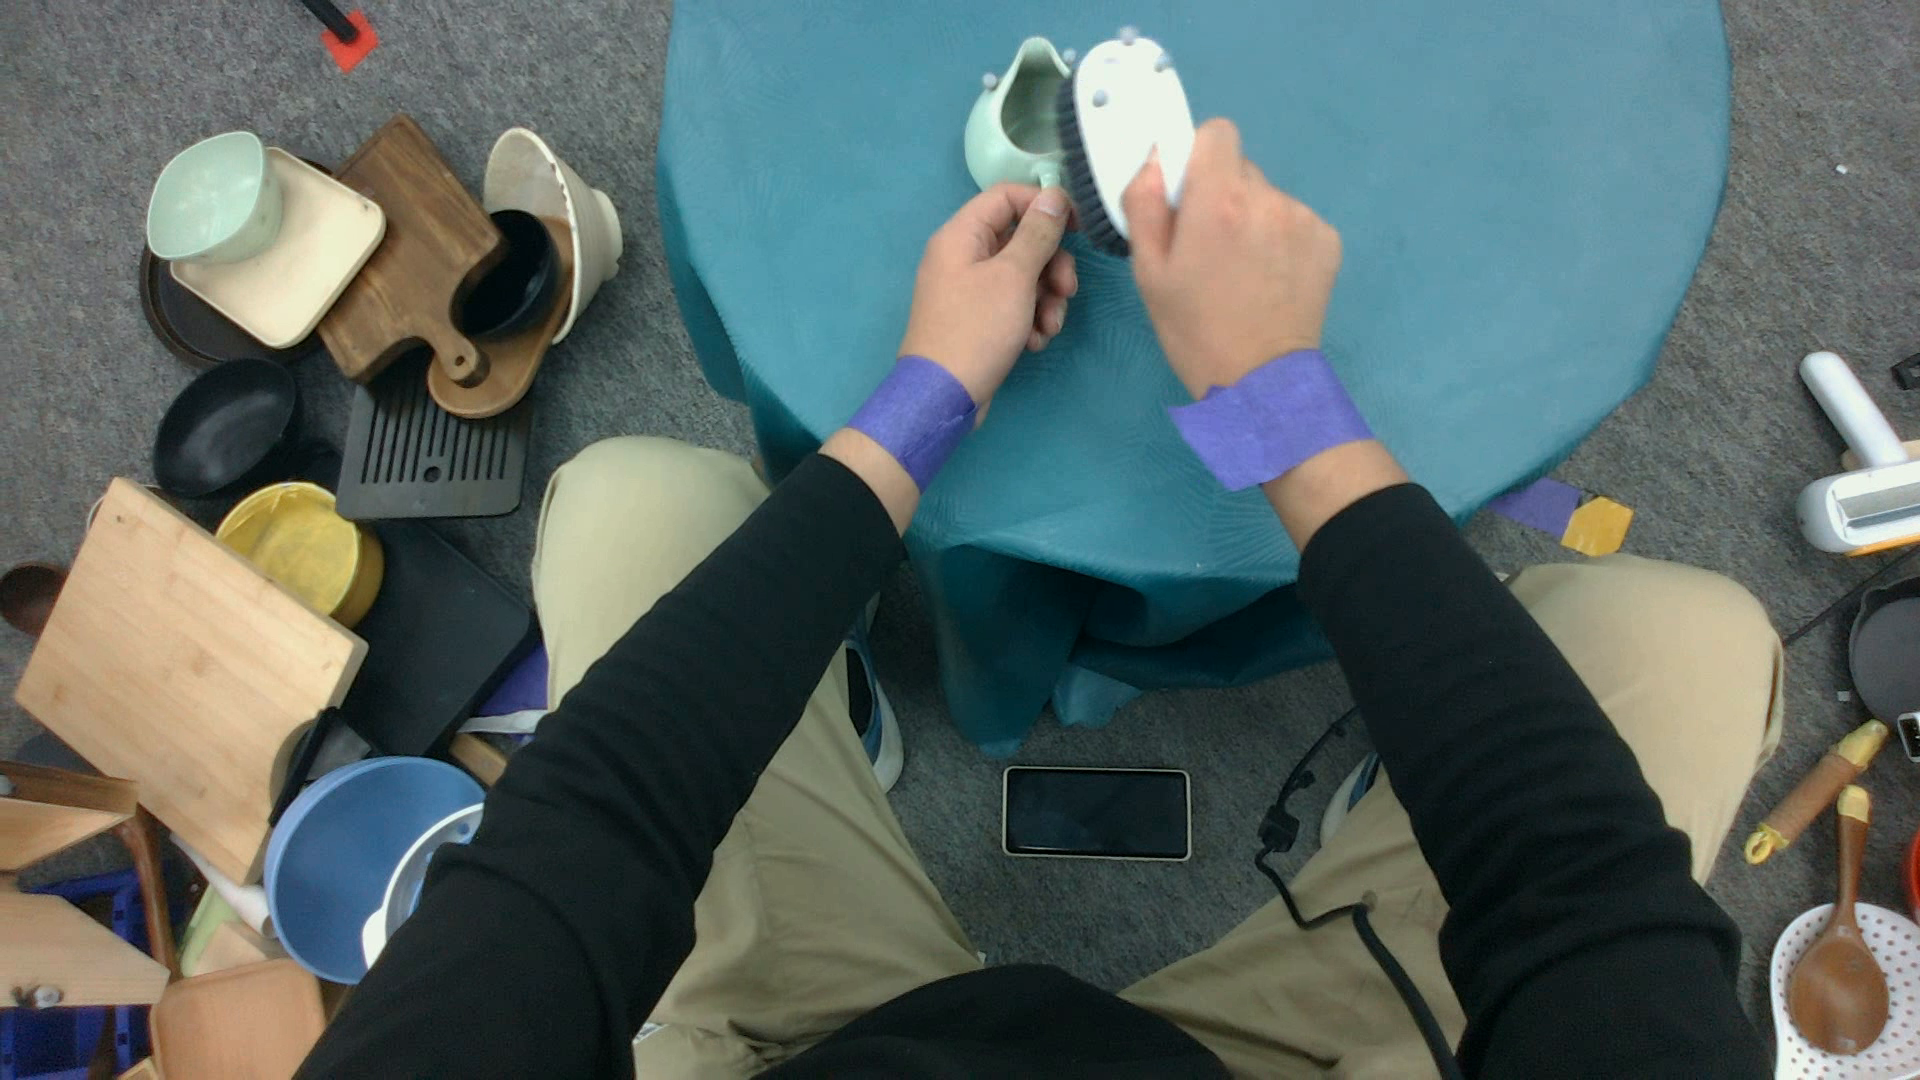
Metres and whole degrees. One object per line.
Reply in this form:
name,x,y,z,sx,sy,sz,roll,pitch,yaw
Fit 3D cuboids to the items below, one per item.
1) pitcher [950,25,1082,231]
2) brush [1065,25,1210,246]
pitcher,0.038,-0.217,0.747,0.086,0.060,0.108,-7,80,3
brush,0.092,-0.198,0.663,0.050,0.072,0.099,-10,90,-24
